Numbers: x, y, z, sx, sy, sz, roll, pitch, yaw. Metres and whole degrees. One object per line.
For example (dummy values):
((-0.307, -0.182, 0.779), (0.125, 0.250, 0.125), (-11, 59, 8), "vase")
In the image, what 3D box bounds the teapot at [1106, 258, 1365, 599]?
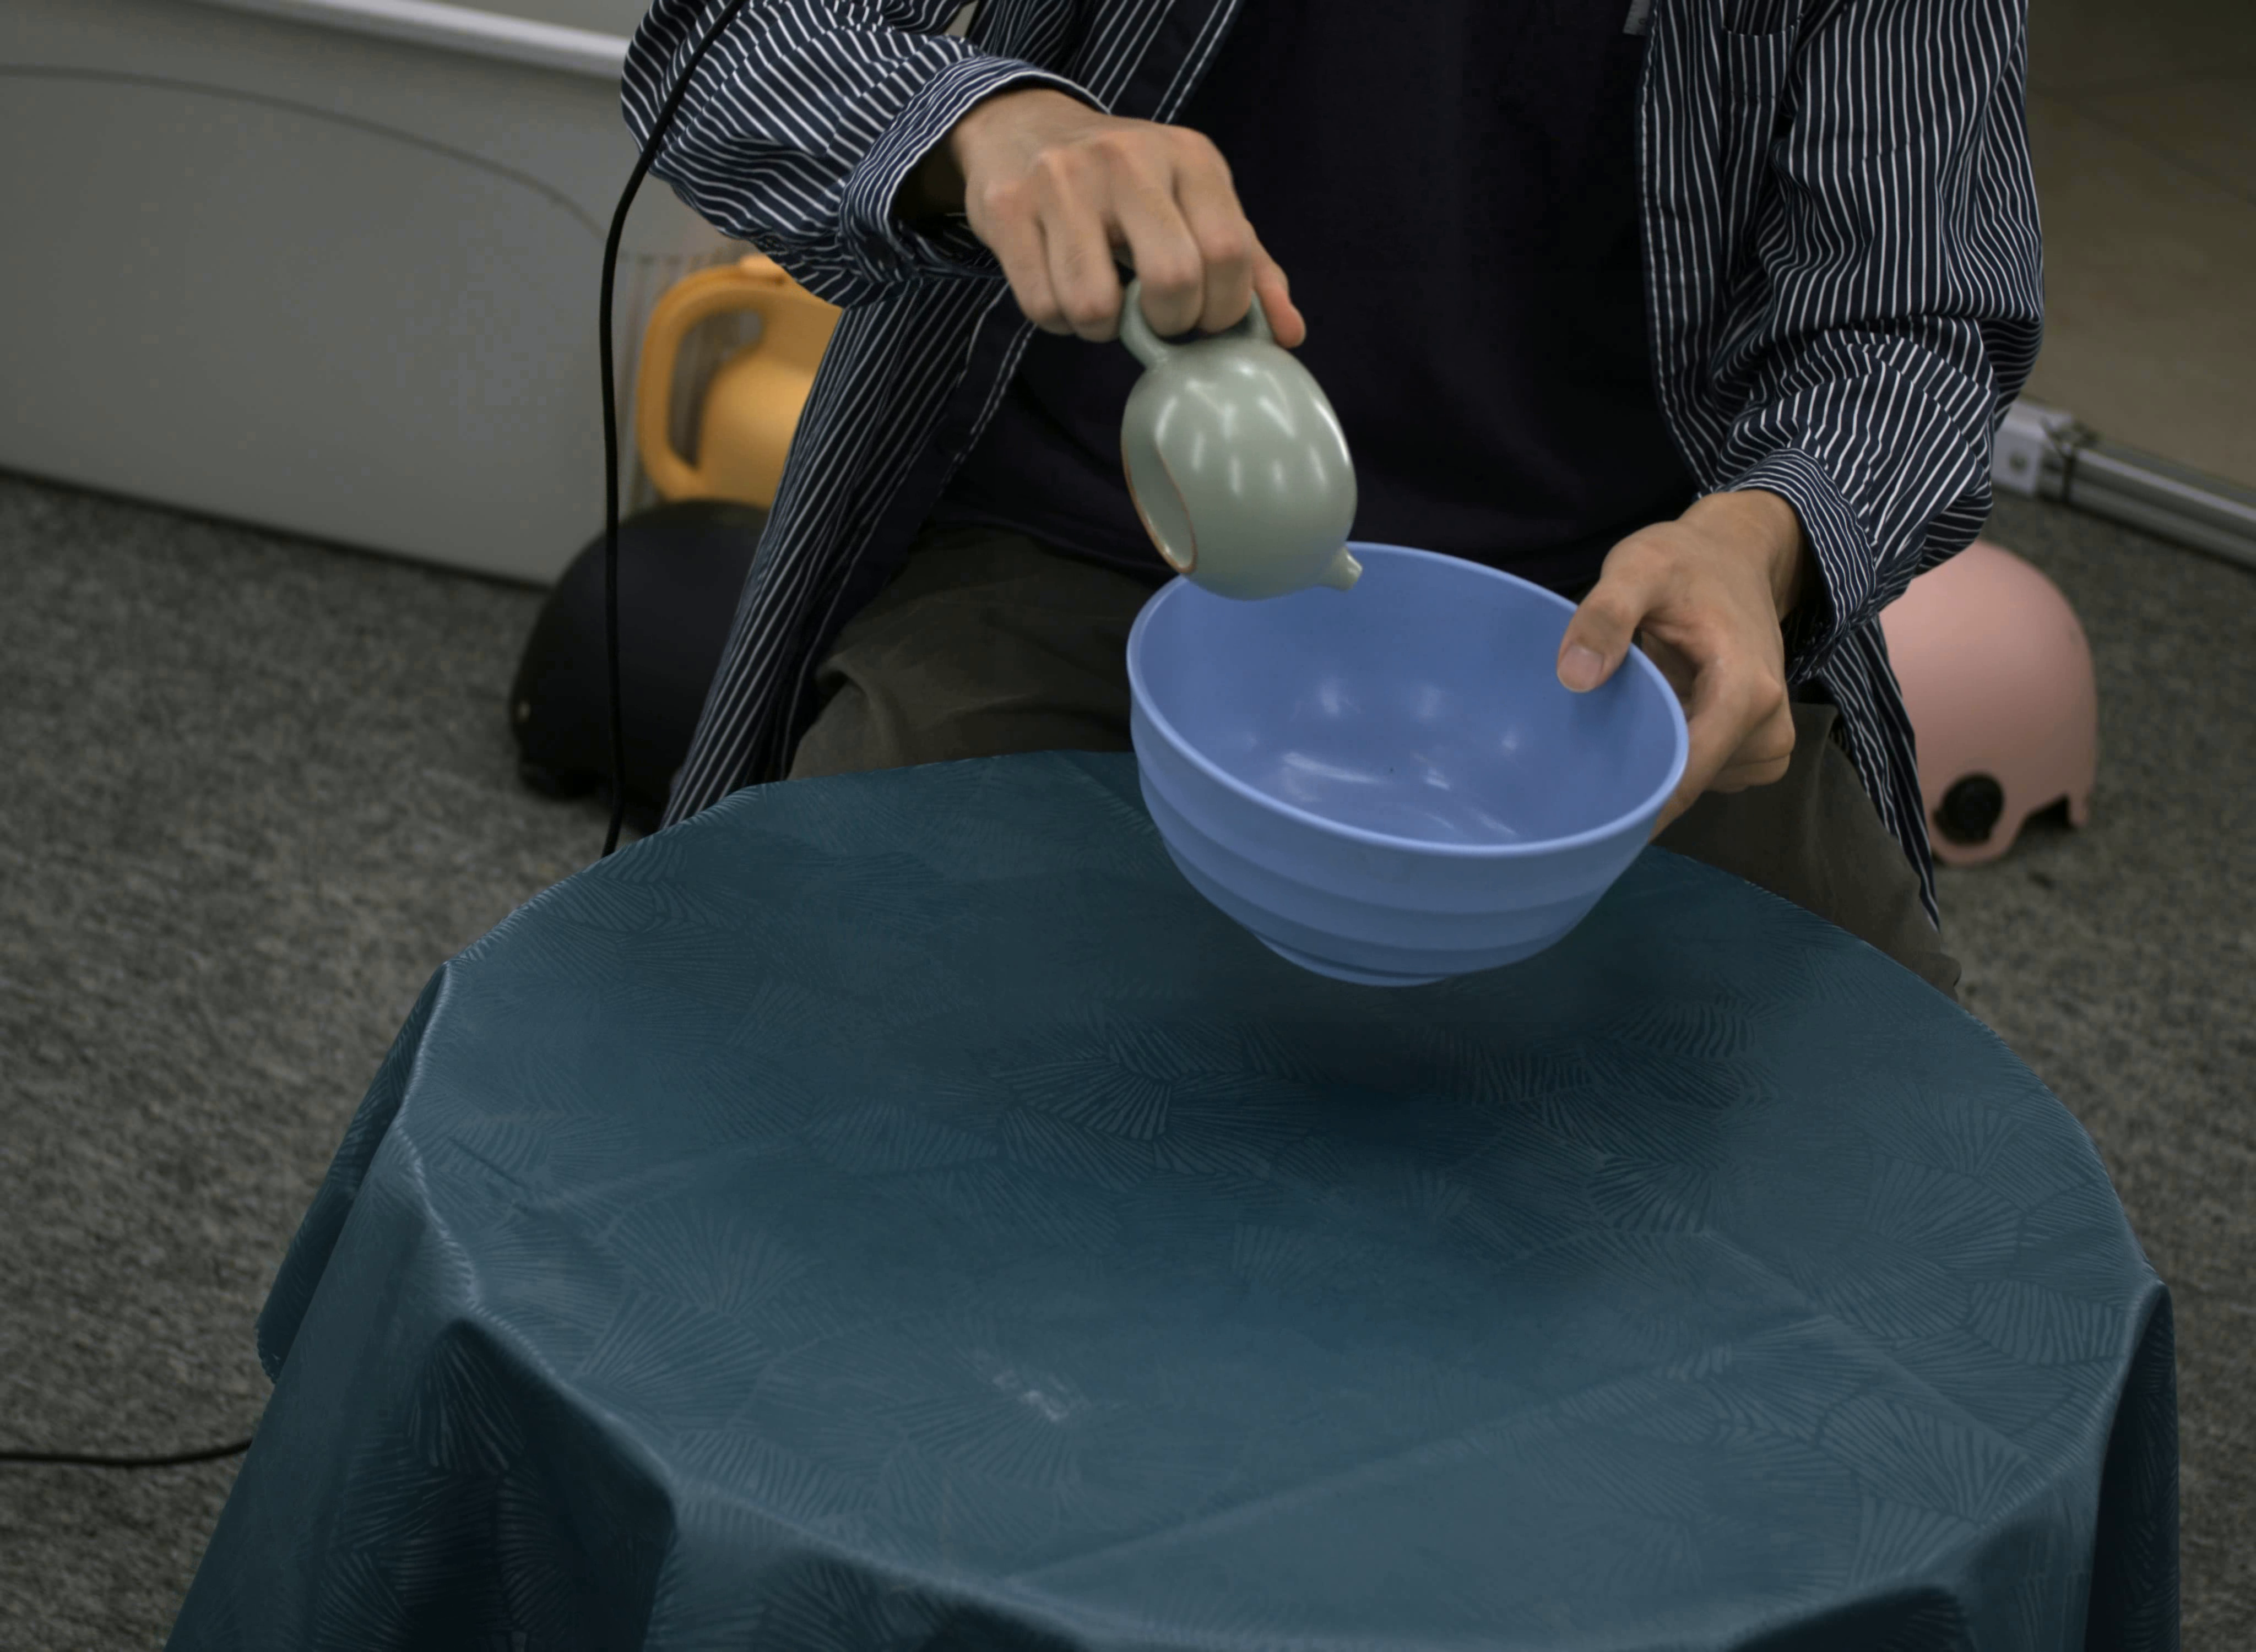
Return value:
((0.031, -0.130, 1.787), (0.061, 0.128, 0.092), (-25, 7, -13), "teapot")

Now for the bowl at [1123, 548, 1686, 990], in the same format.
((0.088, -0.008, 1.850), (0.196, 0.095, 0.198), (7, 32, -5), "bowl")
